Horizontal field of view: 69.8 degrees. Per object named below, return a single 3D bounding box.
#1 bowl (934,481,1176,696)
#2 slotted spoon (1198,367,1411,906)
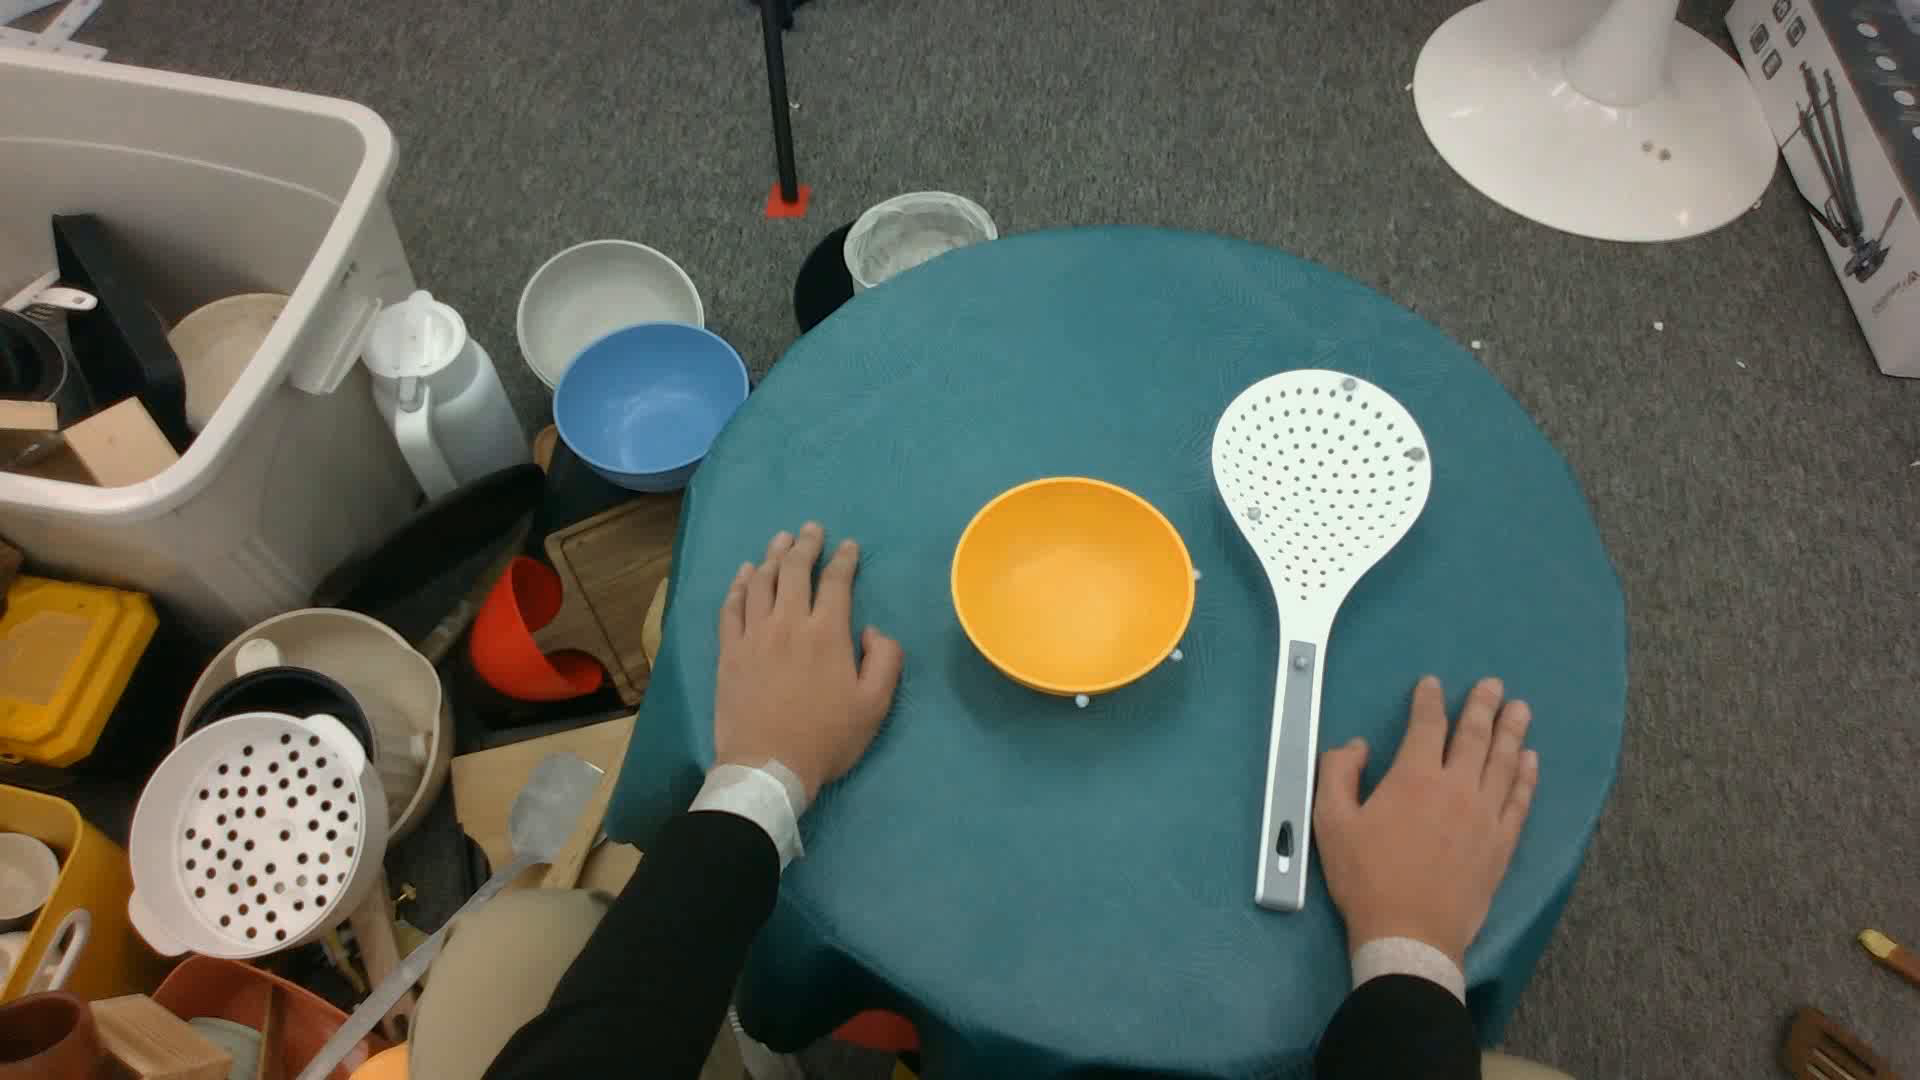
[{"bbox_3d":[0.055,0.039,0.834,0.145,0.060,0.146,1,57,-1],"label":"bowl"},{"bbox_3d":[0.200,0.047,0.840,0.136,0.045,0.351,10,60,4],"label":"slotted spoon"}]
